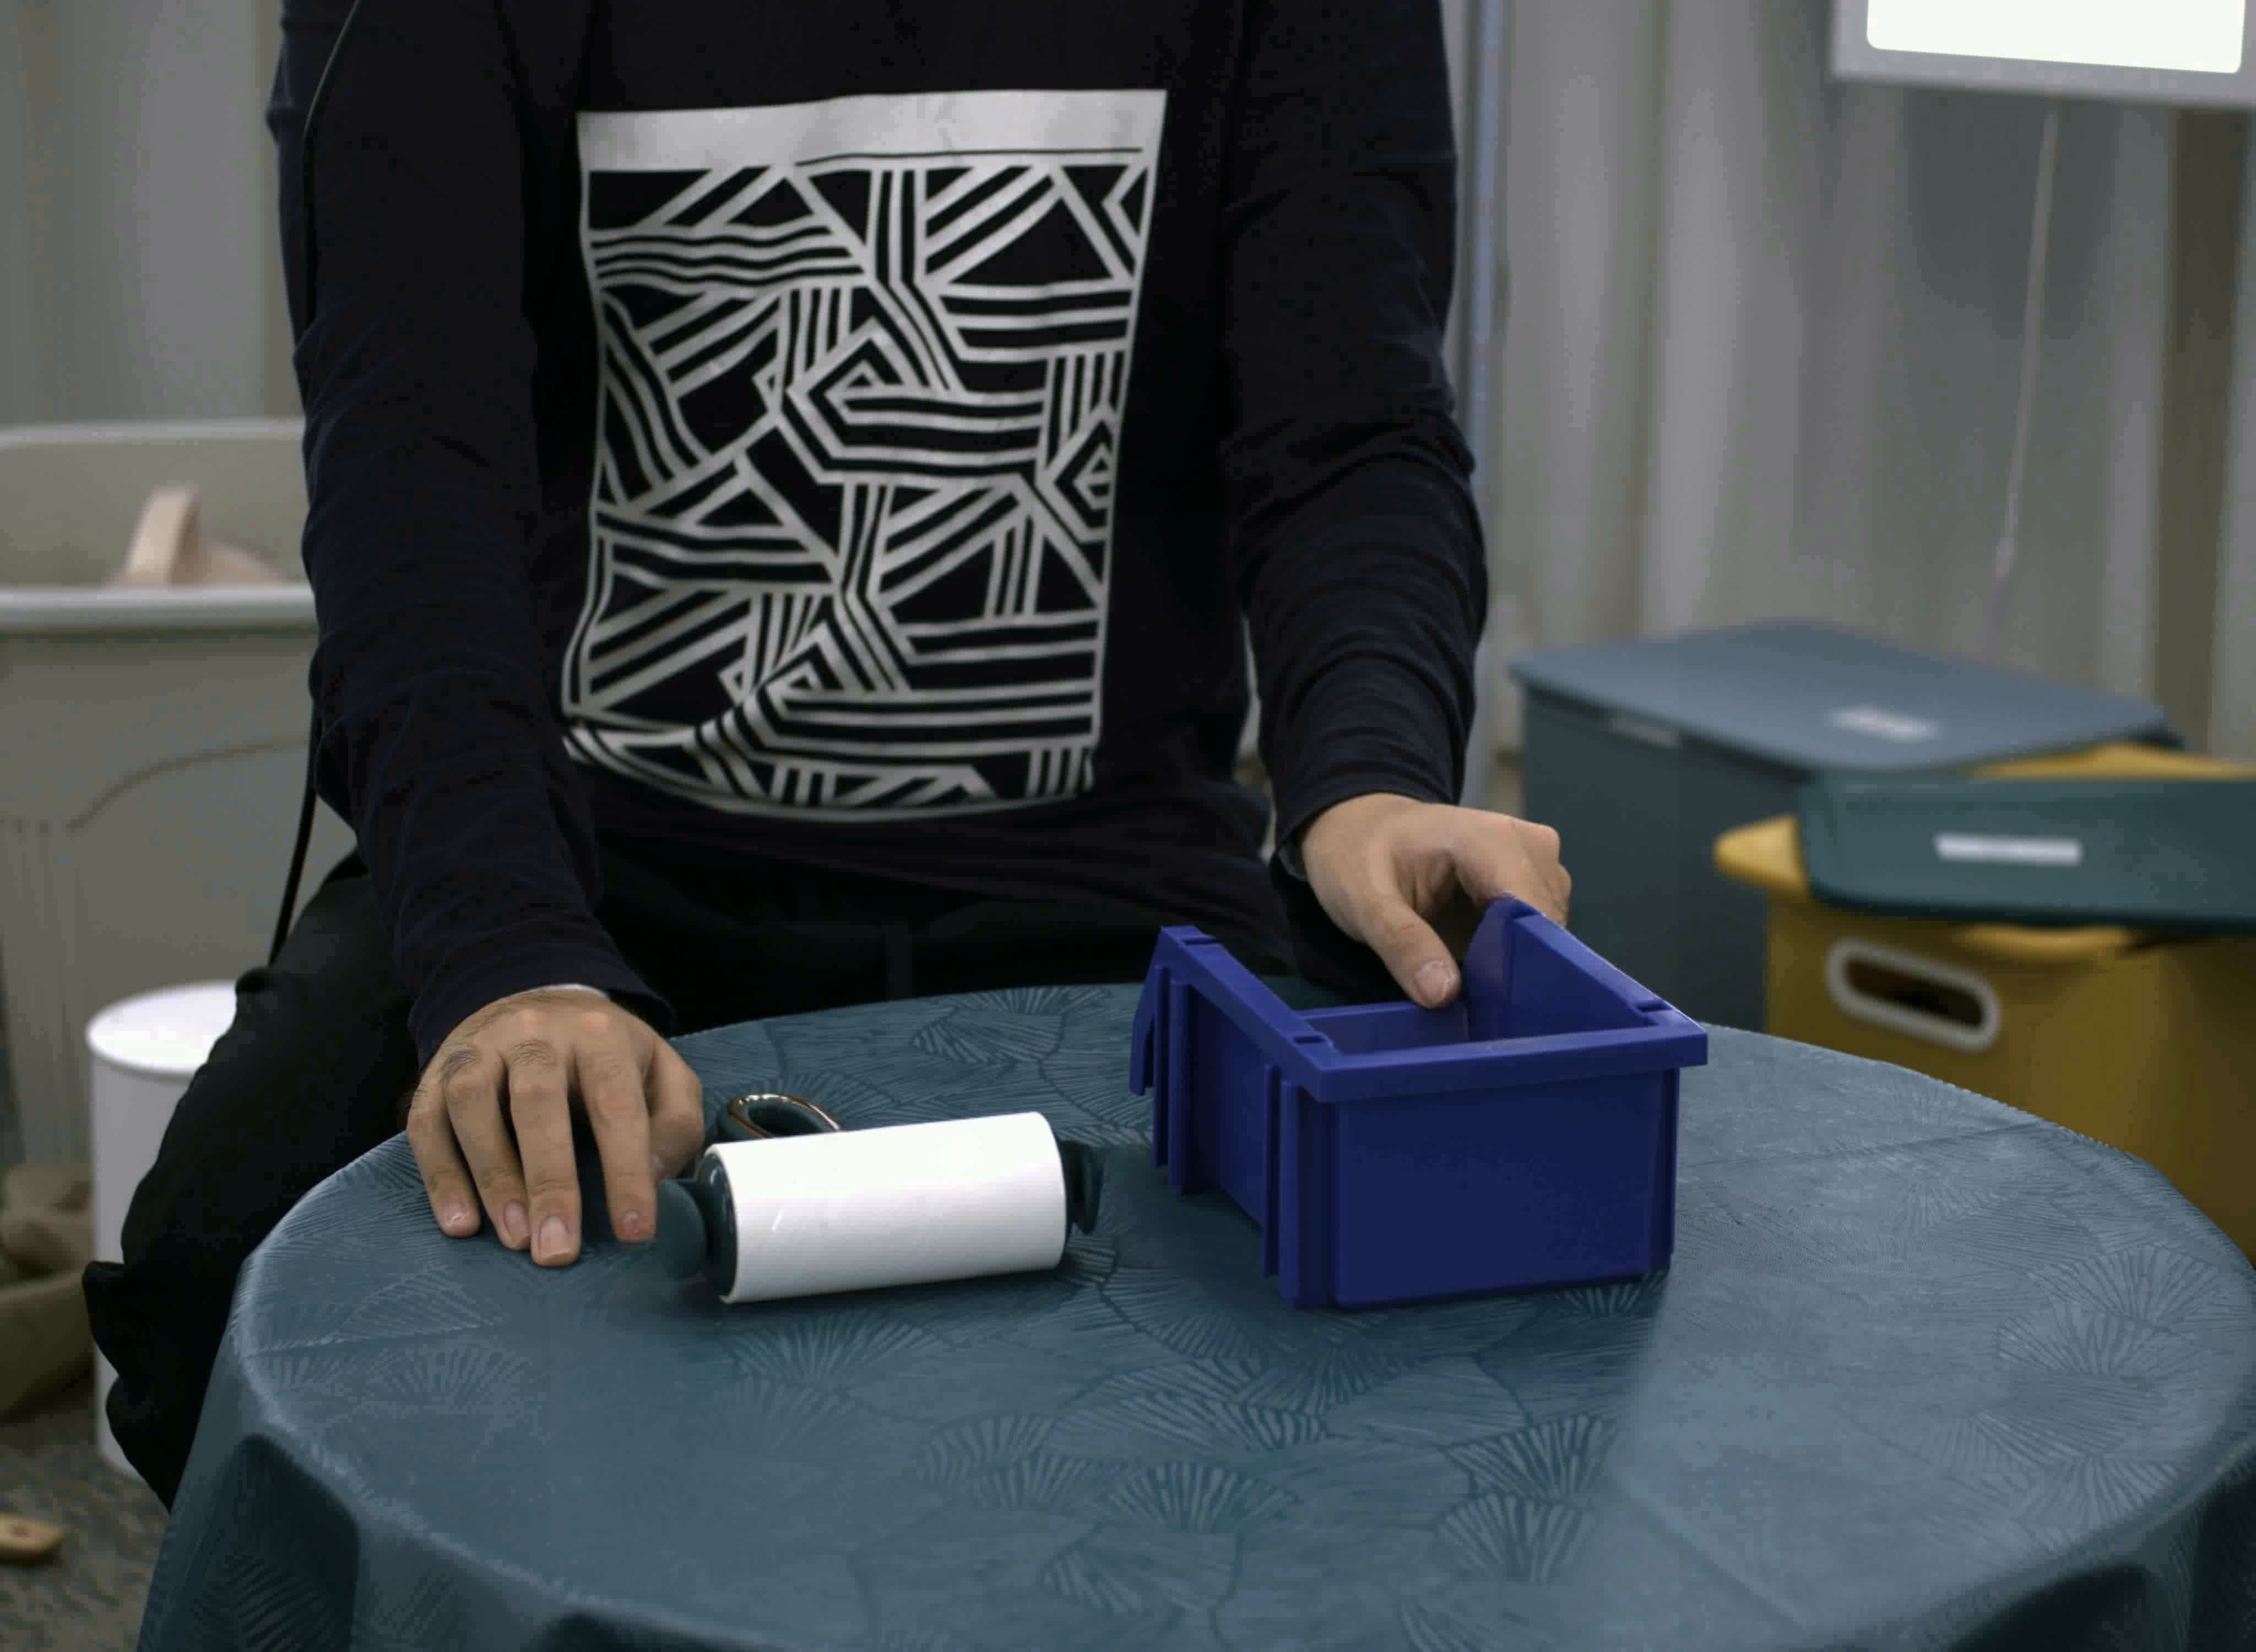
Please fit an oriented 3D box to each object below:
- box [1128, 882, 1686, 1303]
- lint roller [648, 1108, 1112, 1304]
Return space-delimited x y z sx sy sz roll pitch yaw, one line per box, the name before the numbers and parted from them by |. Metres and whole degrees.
box | 0.079 0.077 1.603 0.124 0.082 0.177 -5 19 -15
lint roller | -0.093 0.099 1.599 0.134 0.048 0.178 -5 12 -18
